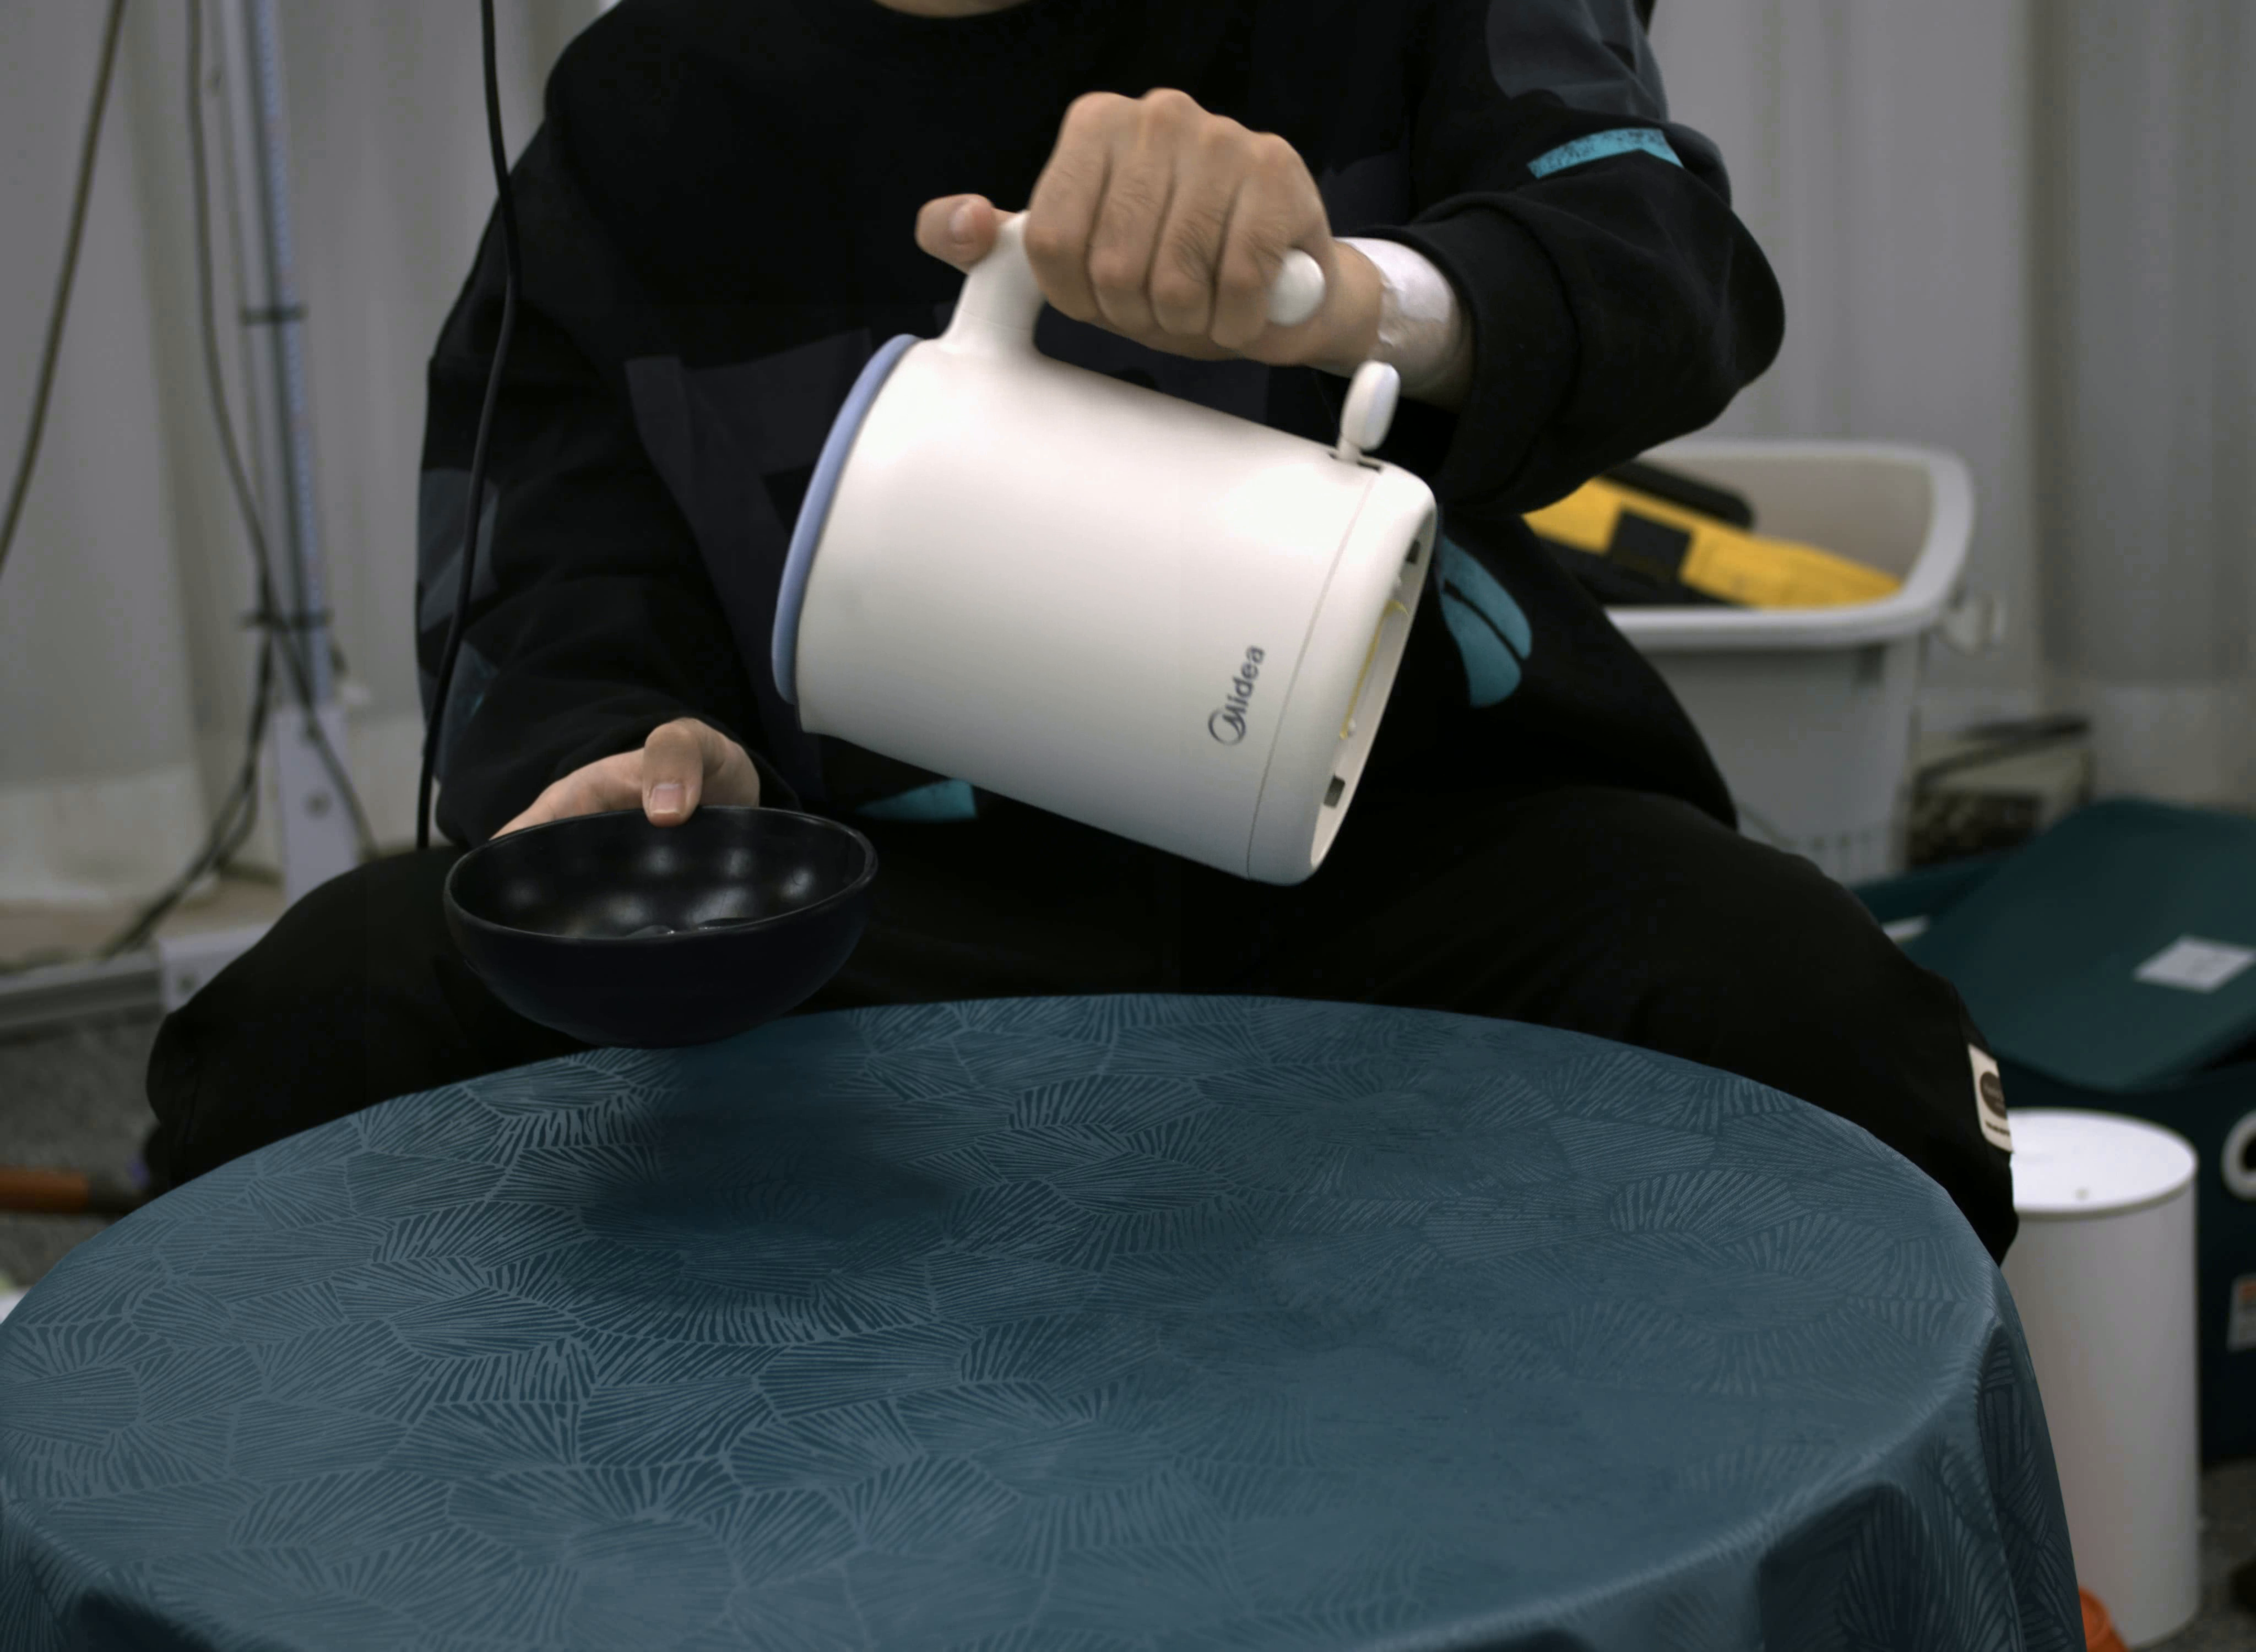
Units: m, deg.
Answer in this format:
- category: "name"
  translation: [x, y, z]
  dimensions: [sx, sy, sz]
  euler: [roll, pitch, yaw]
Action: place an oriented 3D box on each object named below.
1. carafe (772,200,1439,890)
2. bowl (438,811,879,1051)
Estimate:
- category: "carafe"
  translation: [0.002, -0.090, 1.647]
  dimensions: [0.182, 0.190, 0.132]
  euler: [21, 12, 6]
- category: "bowl"
  translation: [-0.146, 0.037, 1.724]
  dimensions: [0.139, 0.049, 0.141]
  euler: [-2, 15, 0]
